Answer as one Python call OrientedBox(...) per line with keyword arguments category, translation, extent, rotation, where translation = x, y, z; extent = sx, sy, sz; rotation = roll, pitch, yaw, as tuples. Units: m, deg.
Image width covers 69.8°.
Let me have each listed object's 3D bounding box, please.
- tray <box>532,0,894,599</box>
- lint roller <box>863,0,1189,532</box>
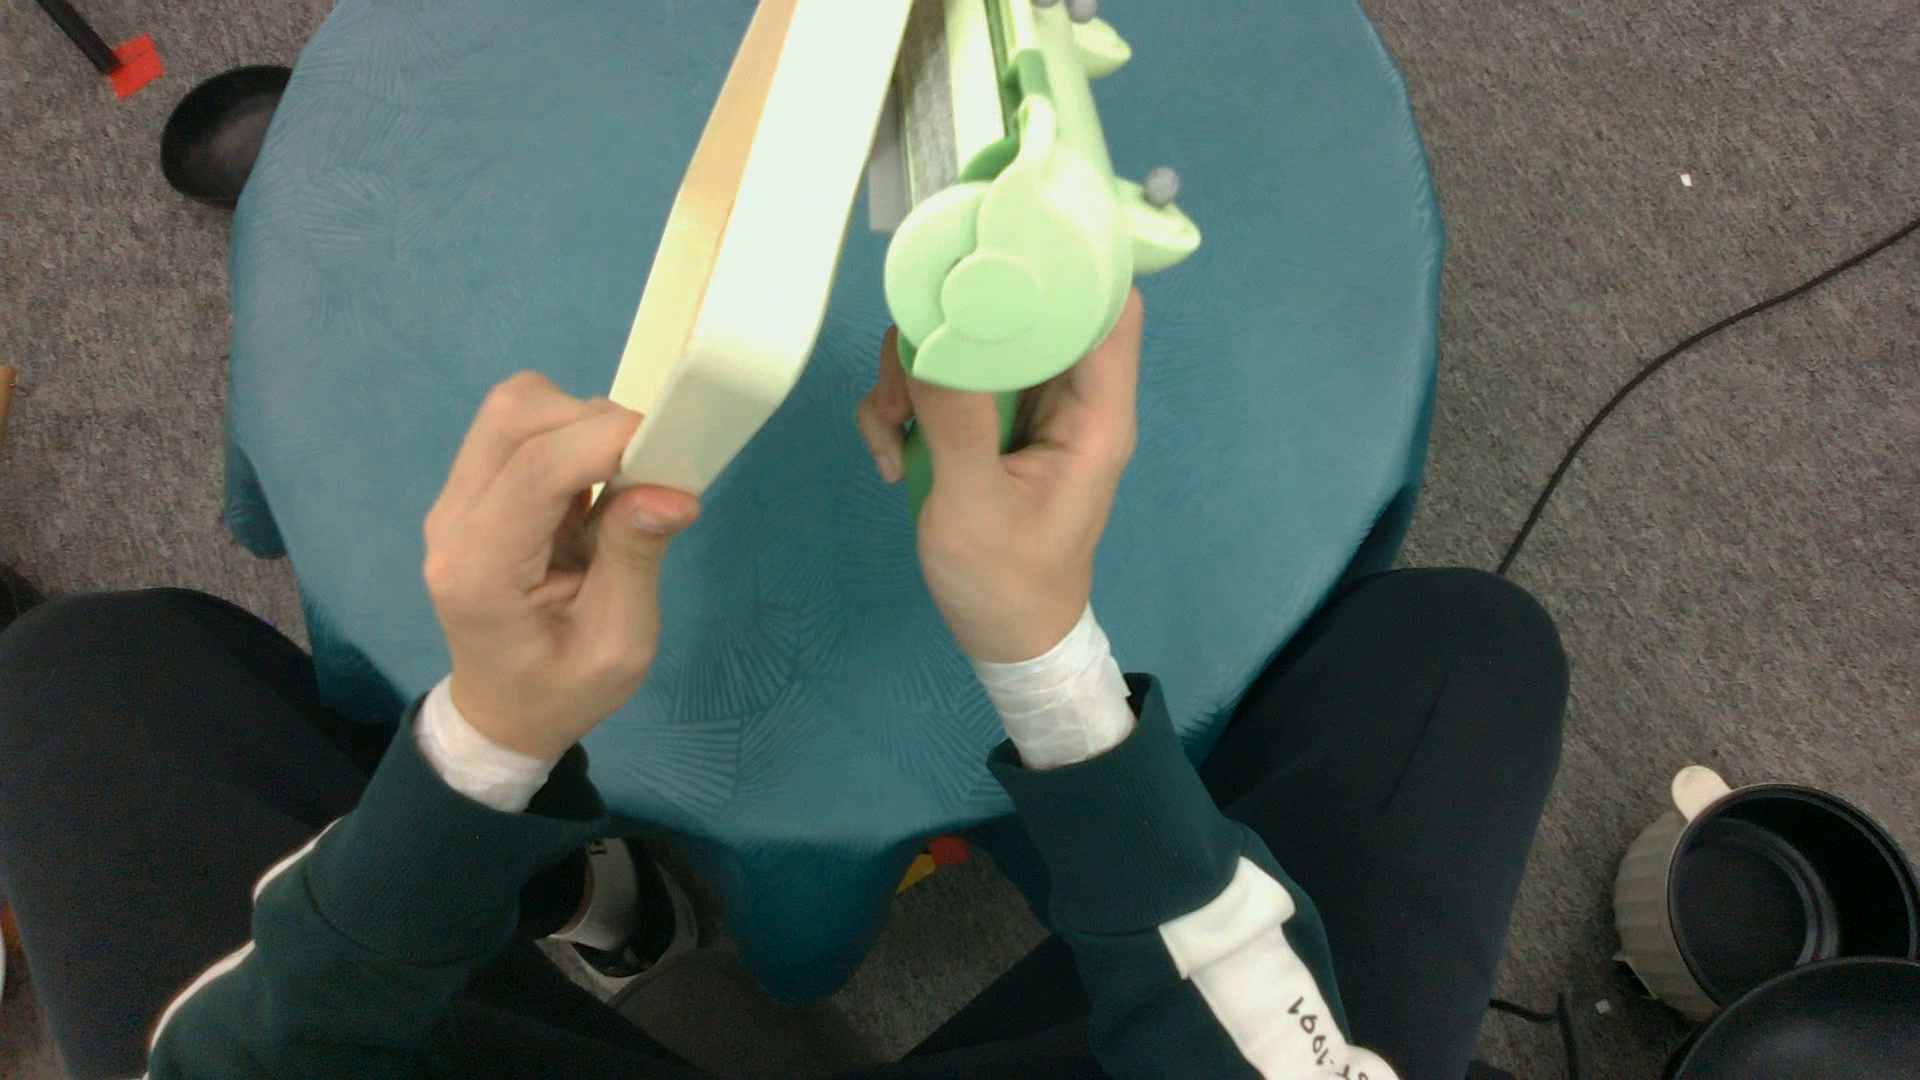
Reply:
OrientedBox(category="tray", translation=(-0.087, -0.095, 0.461), extent=(0.027, 0.299, 0.192), rotation=(18, 71, -19))
OrientedBox(category="lint roller", translation=(0.014, -0.078, 0.400), extent=(0.082, 0.182, 0.199), rotation=(-8, 40, 1))
